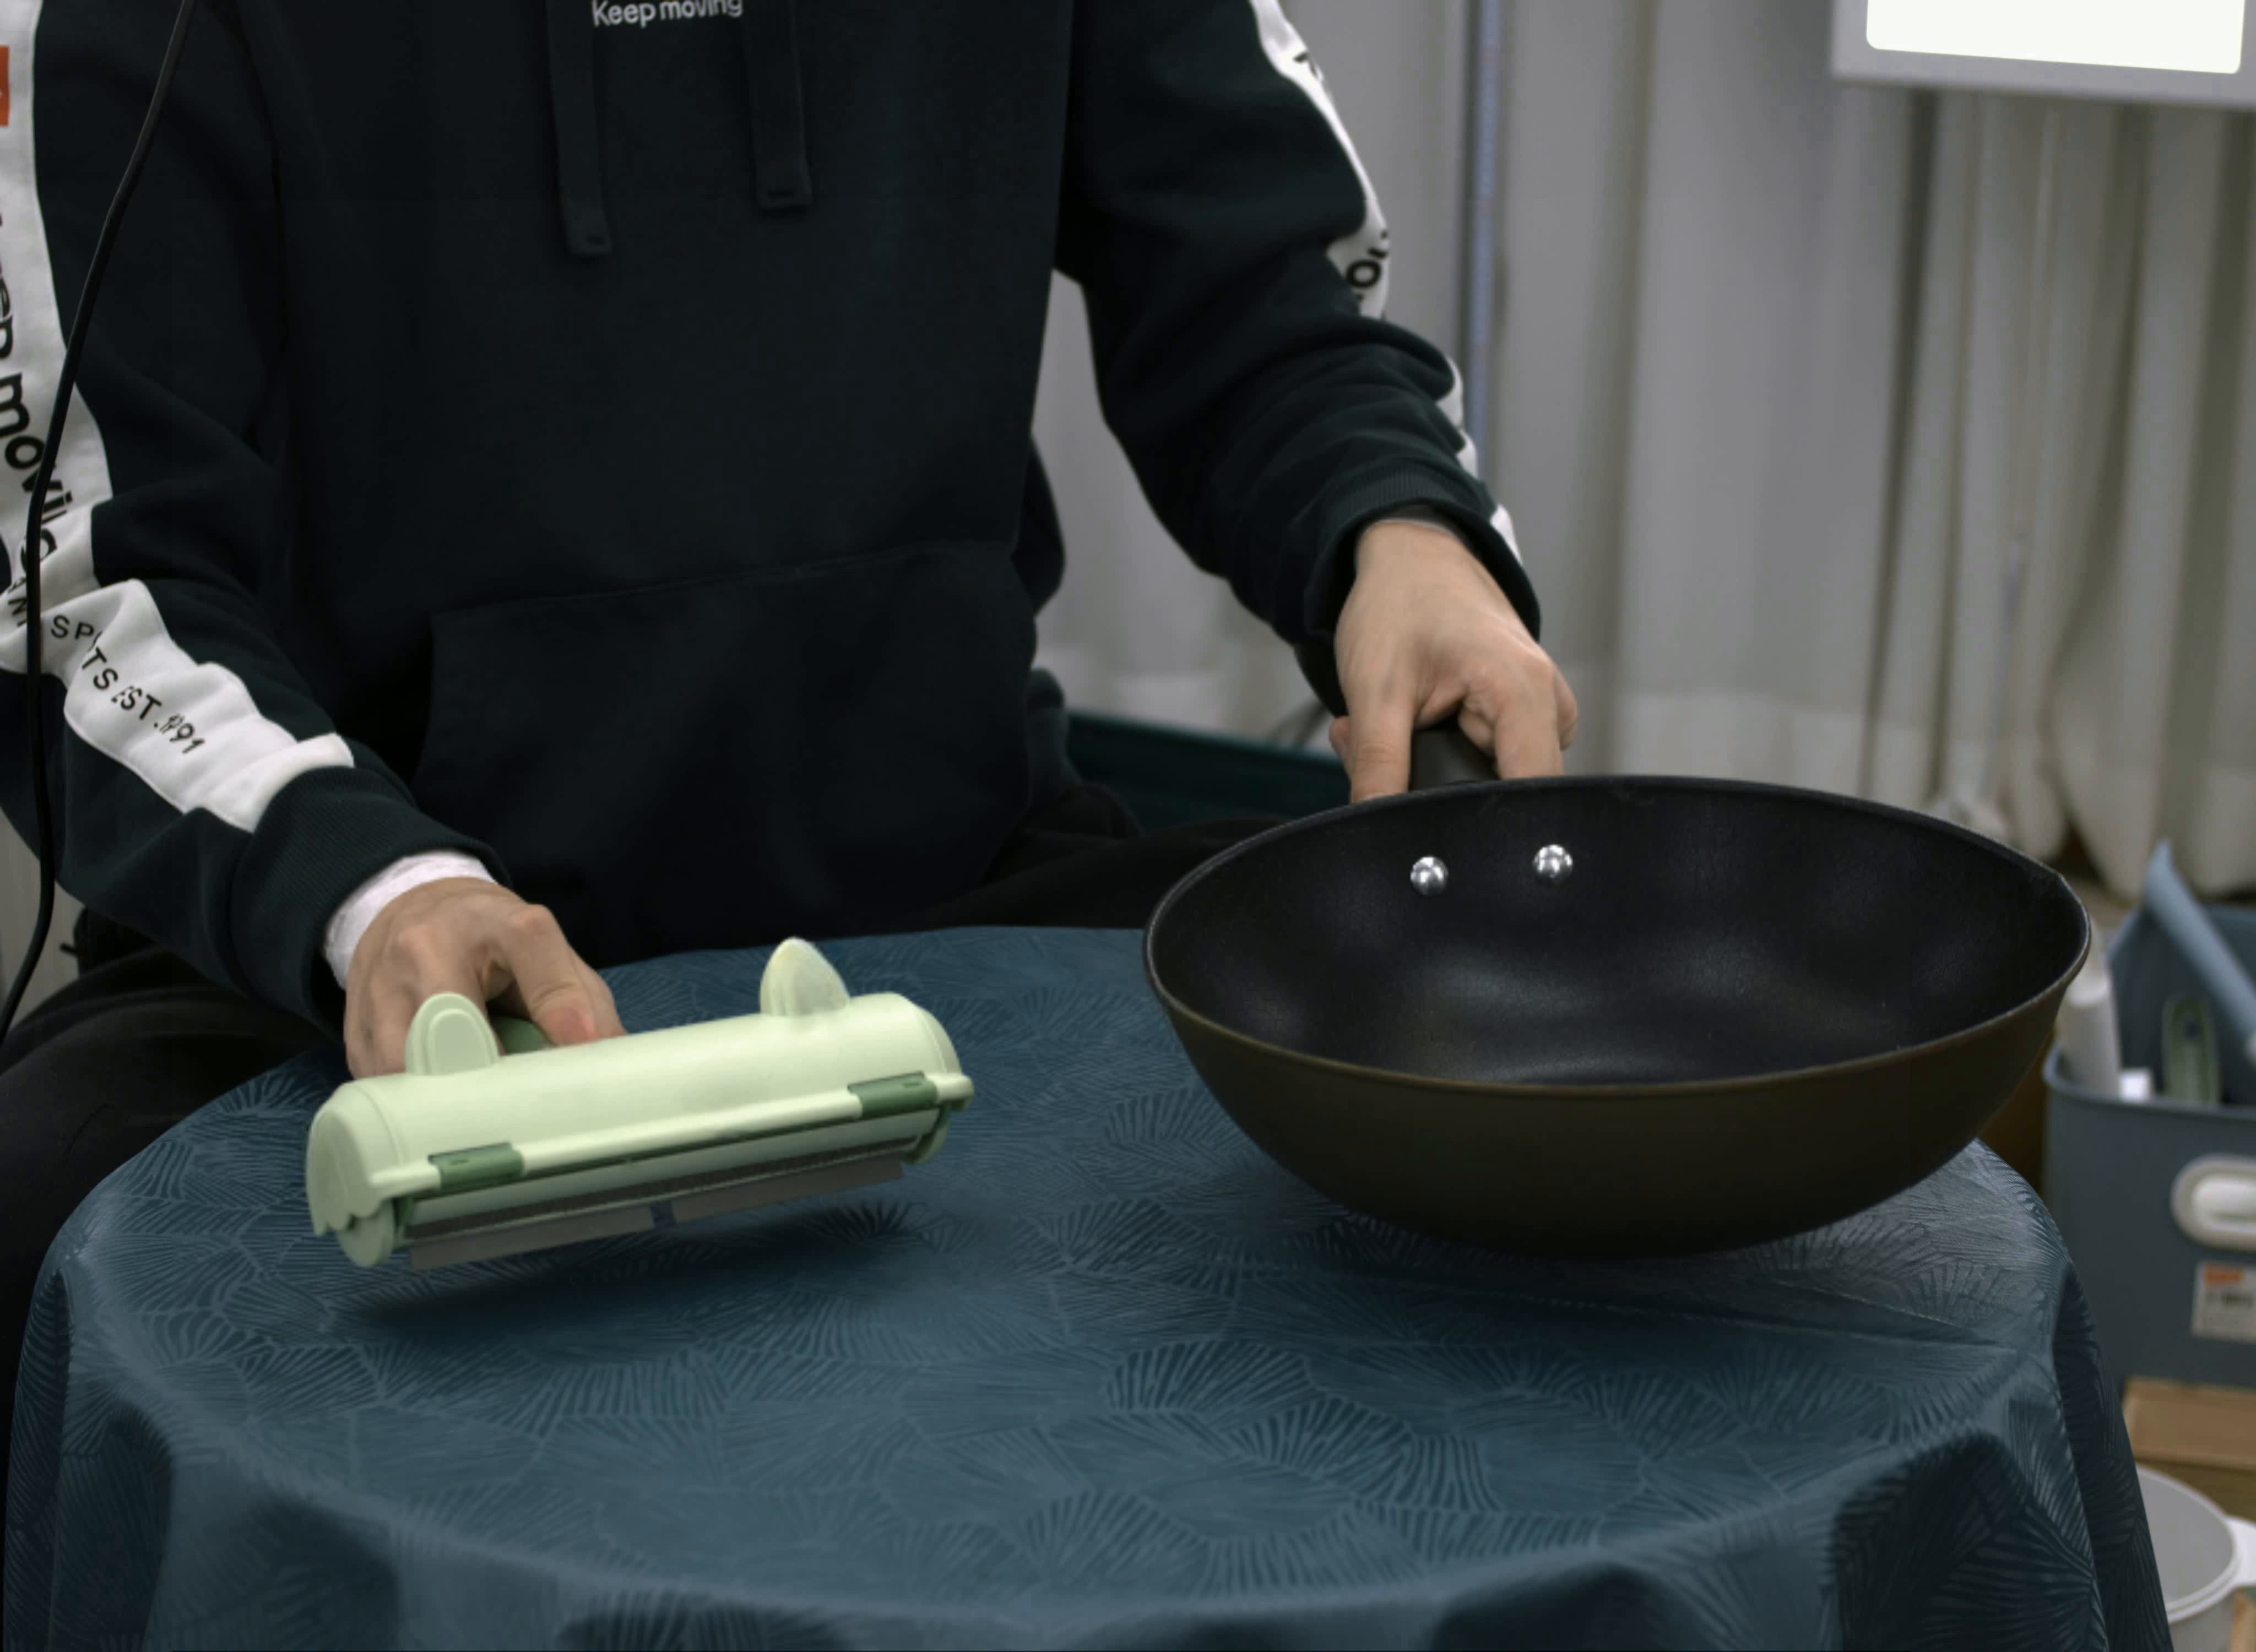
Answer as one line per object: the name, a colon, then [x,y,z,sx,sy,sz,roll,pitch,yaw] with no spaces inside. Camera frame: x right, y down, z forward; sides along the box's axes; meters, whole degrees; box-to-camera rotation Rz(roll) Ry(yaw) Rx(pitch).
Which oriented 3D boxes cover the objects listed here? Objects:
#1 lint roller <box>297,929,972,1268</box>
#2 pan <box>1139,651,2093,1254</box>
lint roller: [-0.172,0.065,1.579,0.199,0.083,0.181,-9,22,-31]
pan: [0.123,0.038,1.666,0.288,0.087,0.459,-6,18,-13]
